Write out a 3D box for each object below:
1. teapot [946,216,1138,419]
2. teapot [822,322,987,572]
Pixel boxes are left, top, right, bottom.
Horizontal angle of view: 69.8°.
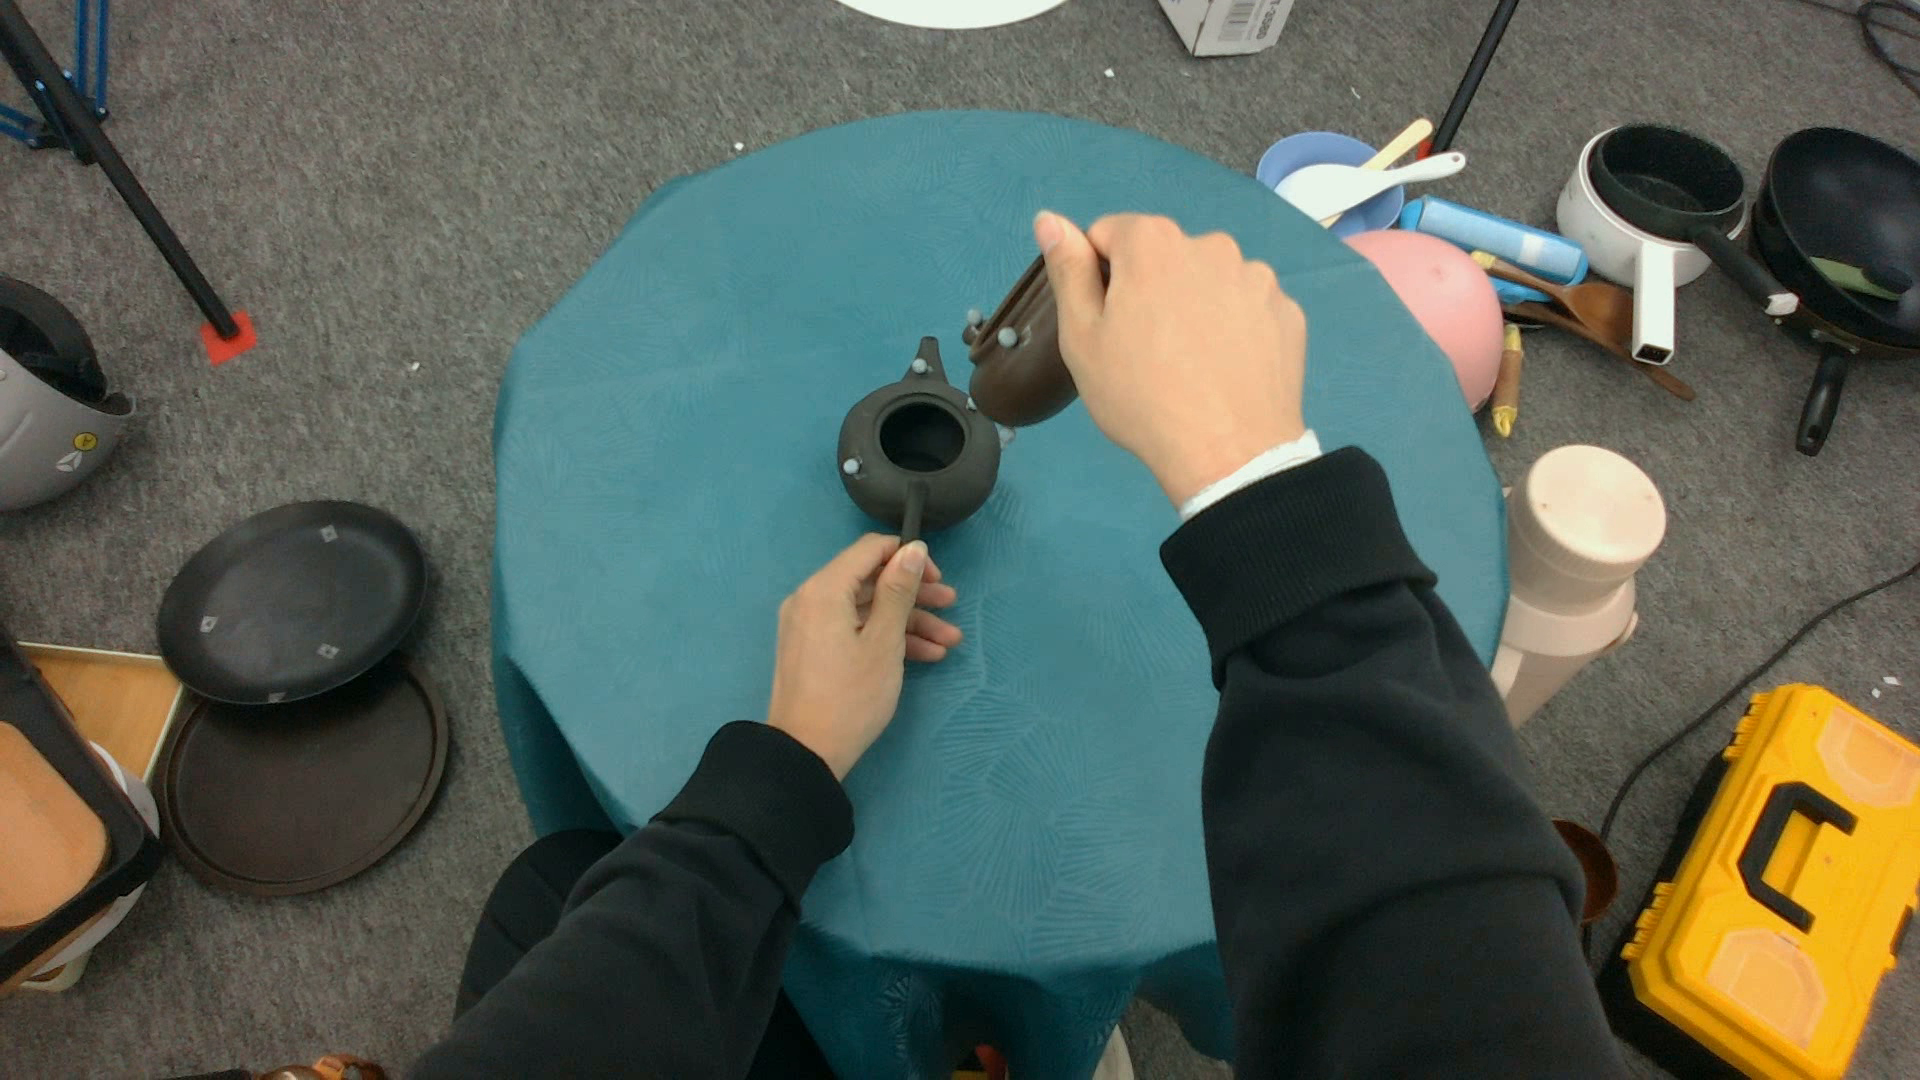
[{"bbox_3d":[0.038,-0.104,0.628,0.054,0.153,0.103,33,67,-8],"label":"teapot"},{"bbox_3d":[-0.032,-0.051,0.773,0.092,0.064,0.155,6,60,-2],"label":"teapot"}]
